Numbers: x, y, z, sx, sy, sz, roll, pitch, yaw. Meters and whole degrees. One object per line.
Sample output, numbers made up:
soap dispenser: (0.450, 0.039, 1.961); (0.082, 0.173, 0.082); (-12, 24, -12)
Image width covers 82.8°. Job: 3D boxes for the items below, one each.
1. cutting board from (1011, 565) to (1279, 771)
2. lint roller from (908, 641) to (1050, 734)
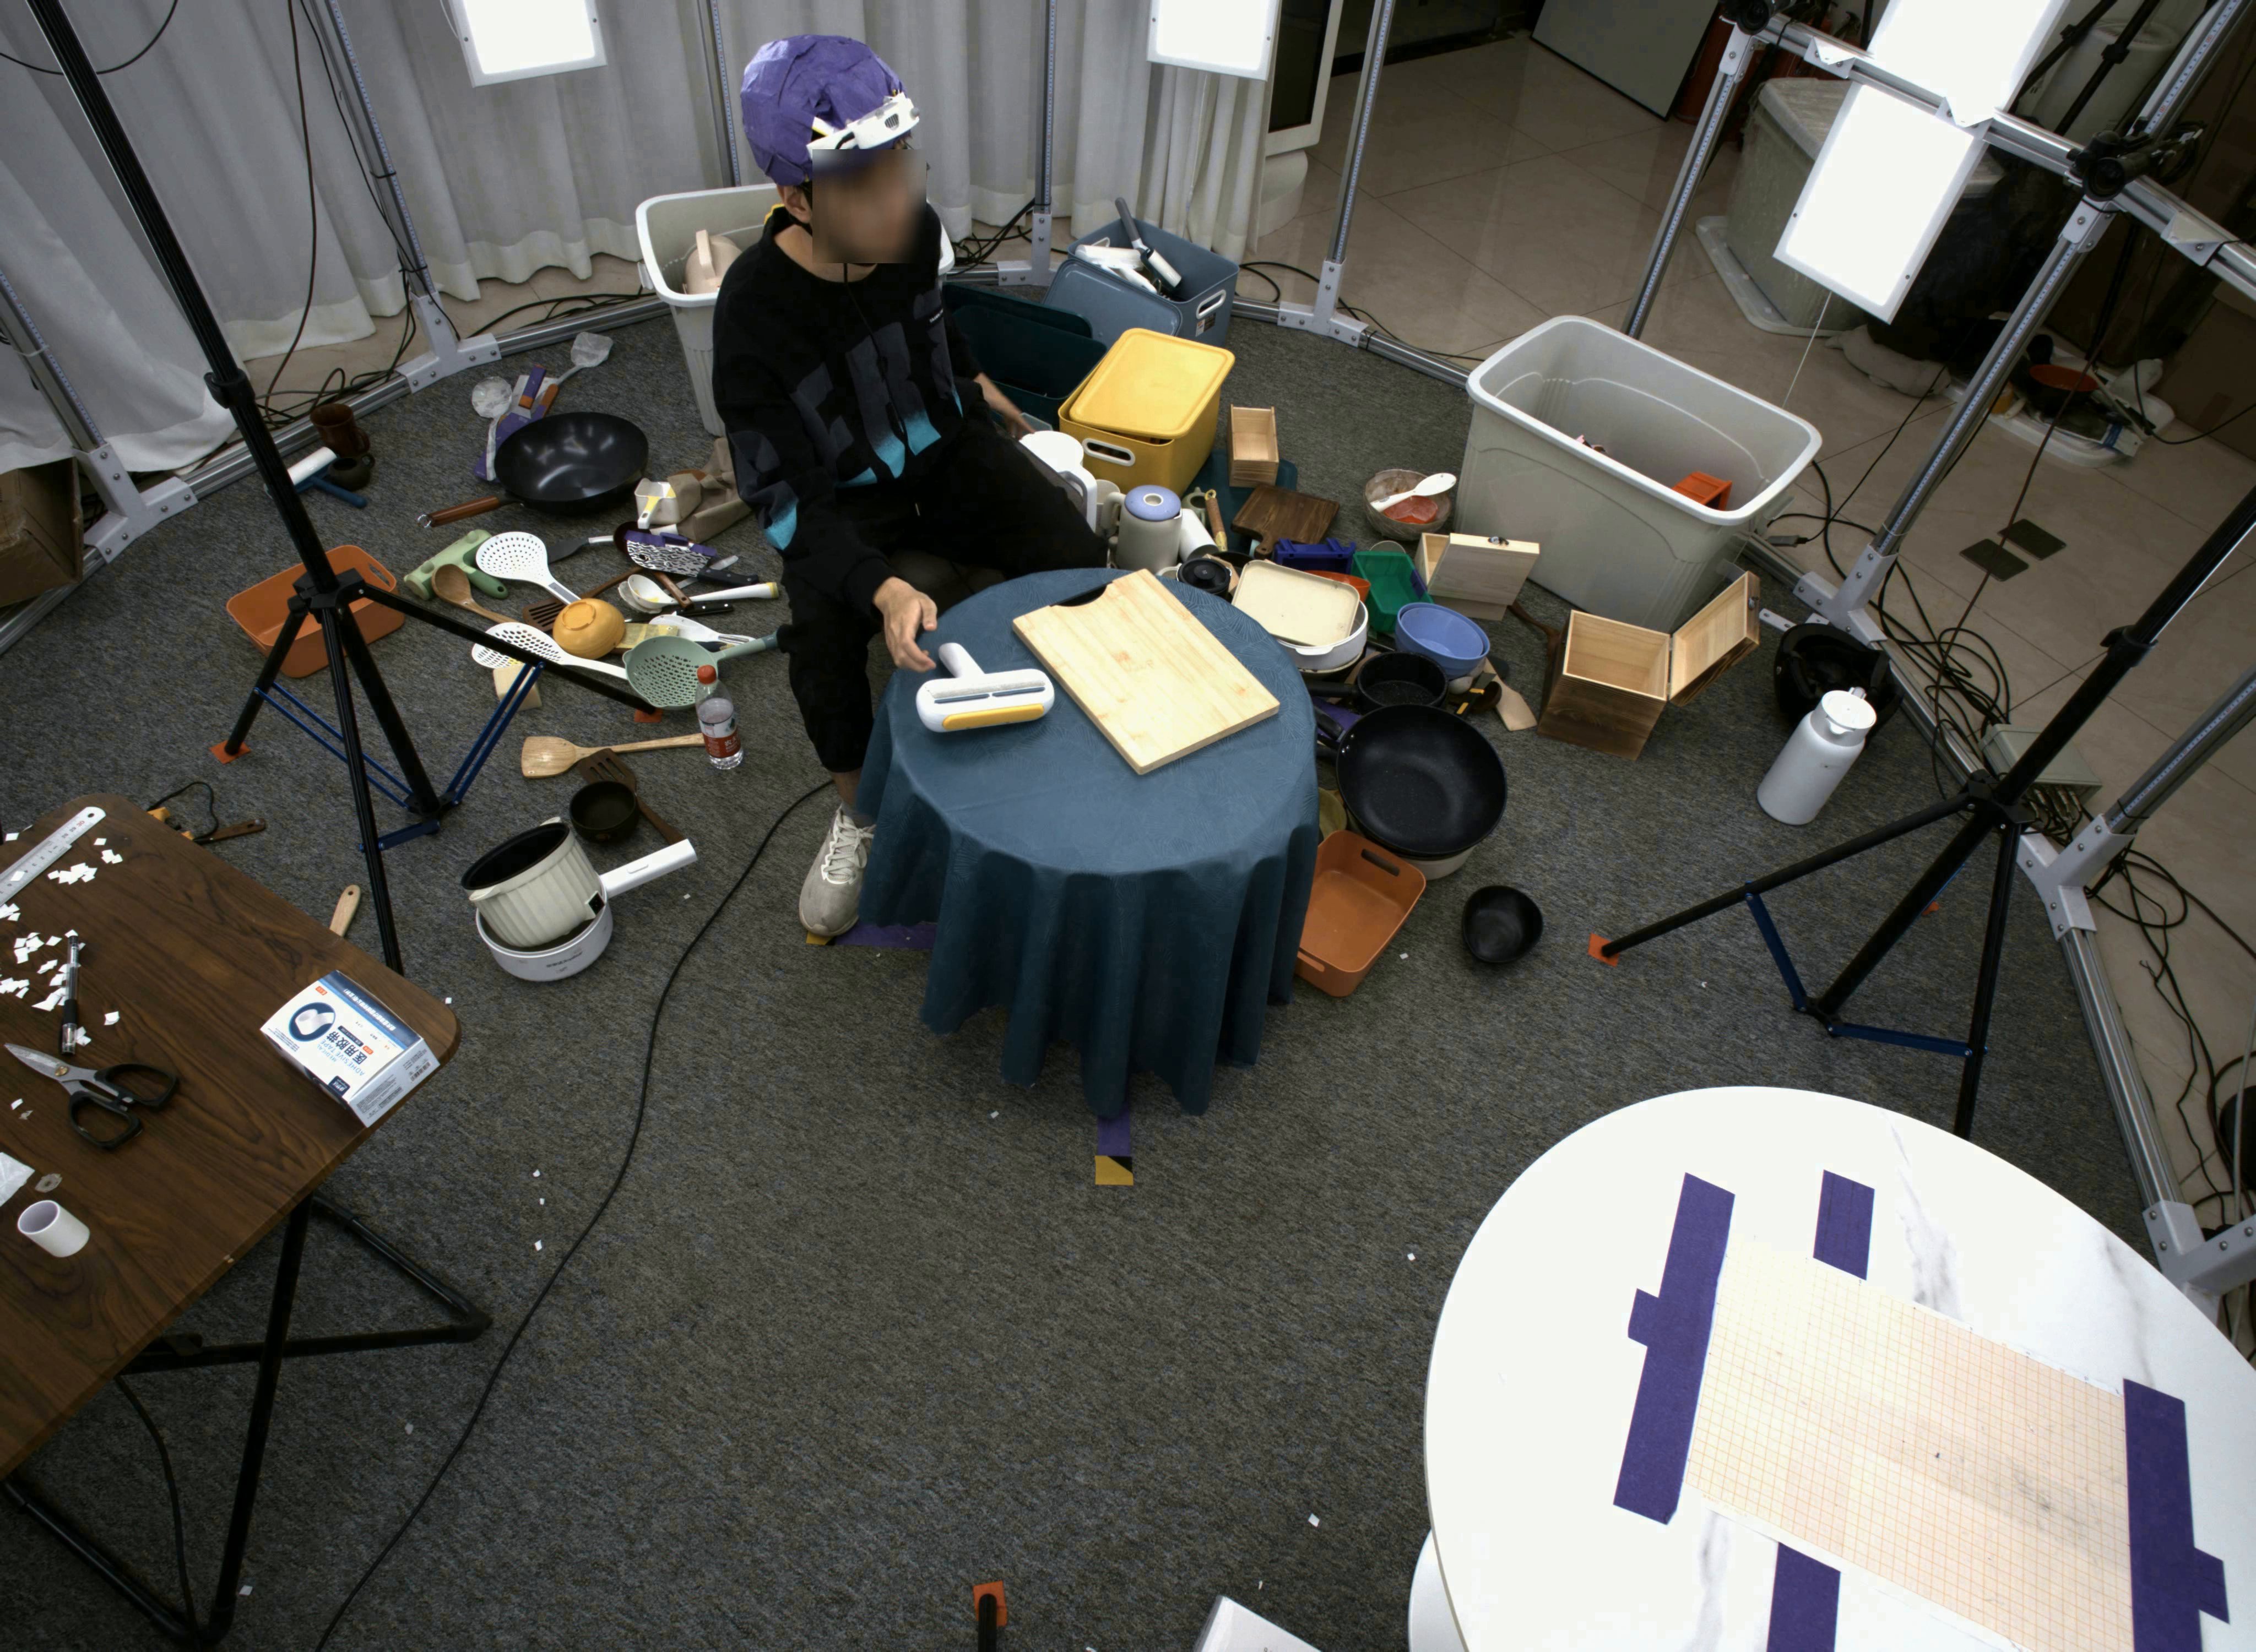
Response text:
cutting board: (0.020, -0.237, 1.864); (0.252, 0.023, 0.355); (-25, 55, -23)
lint roller: (-0.220, -0.207, 1.790); (0.193, 0.072, 0.197); (-10, 49, -19)
